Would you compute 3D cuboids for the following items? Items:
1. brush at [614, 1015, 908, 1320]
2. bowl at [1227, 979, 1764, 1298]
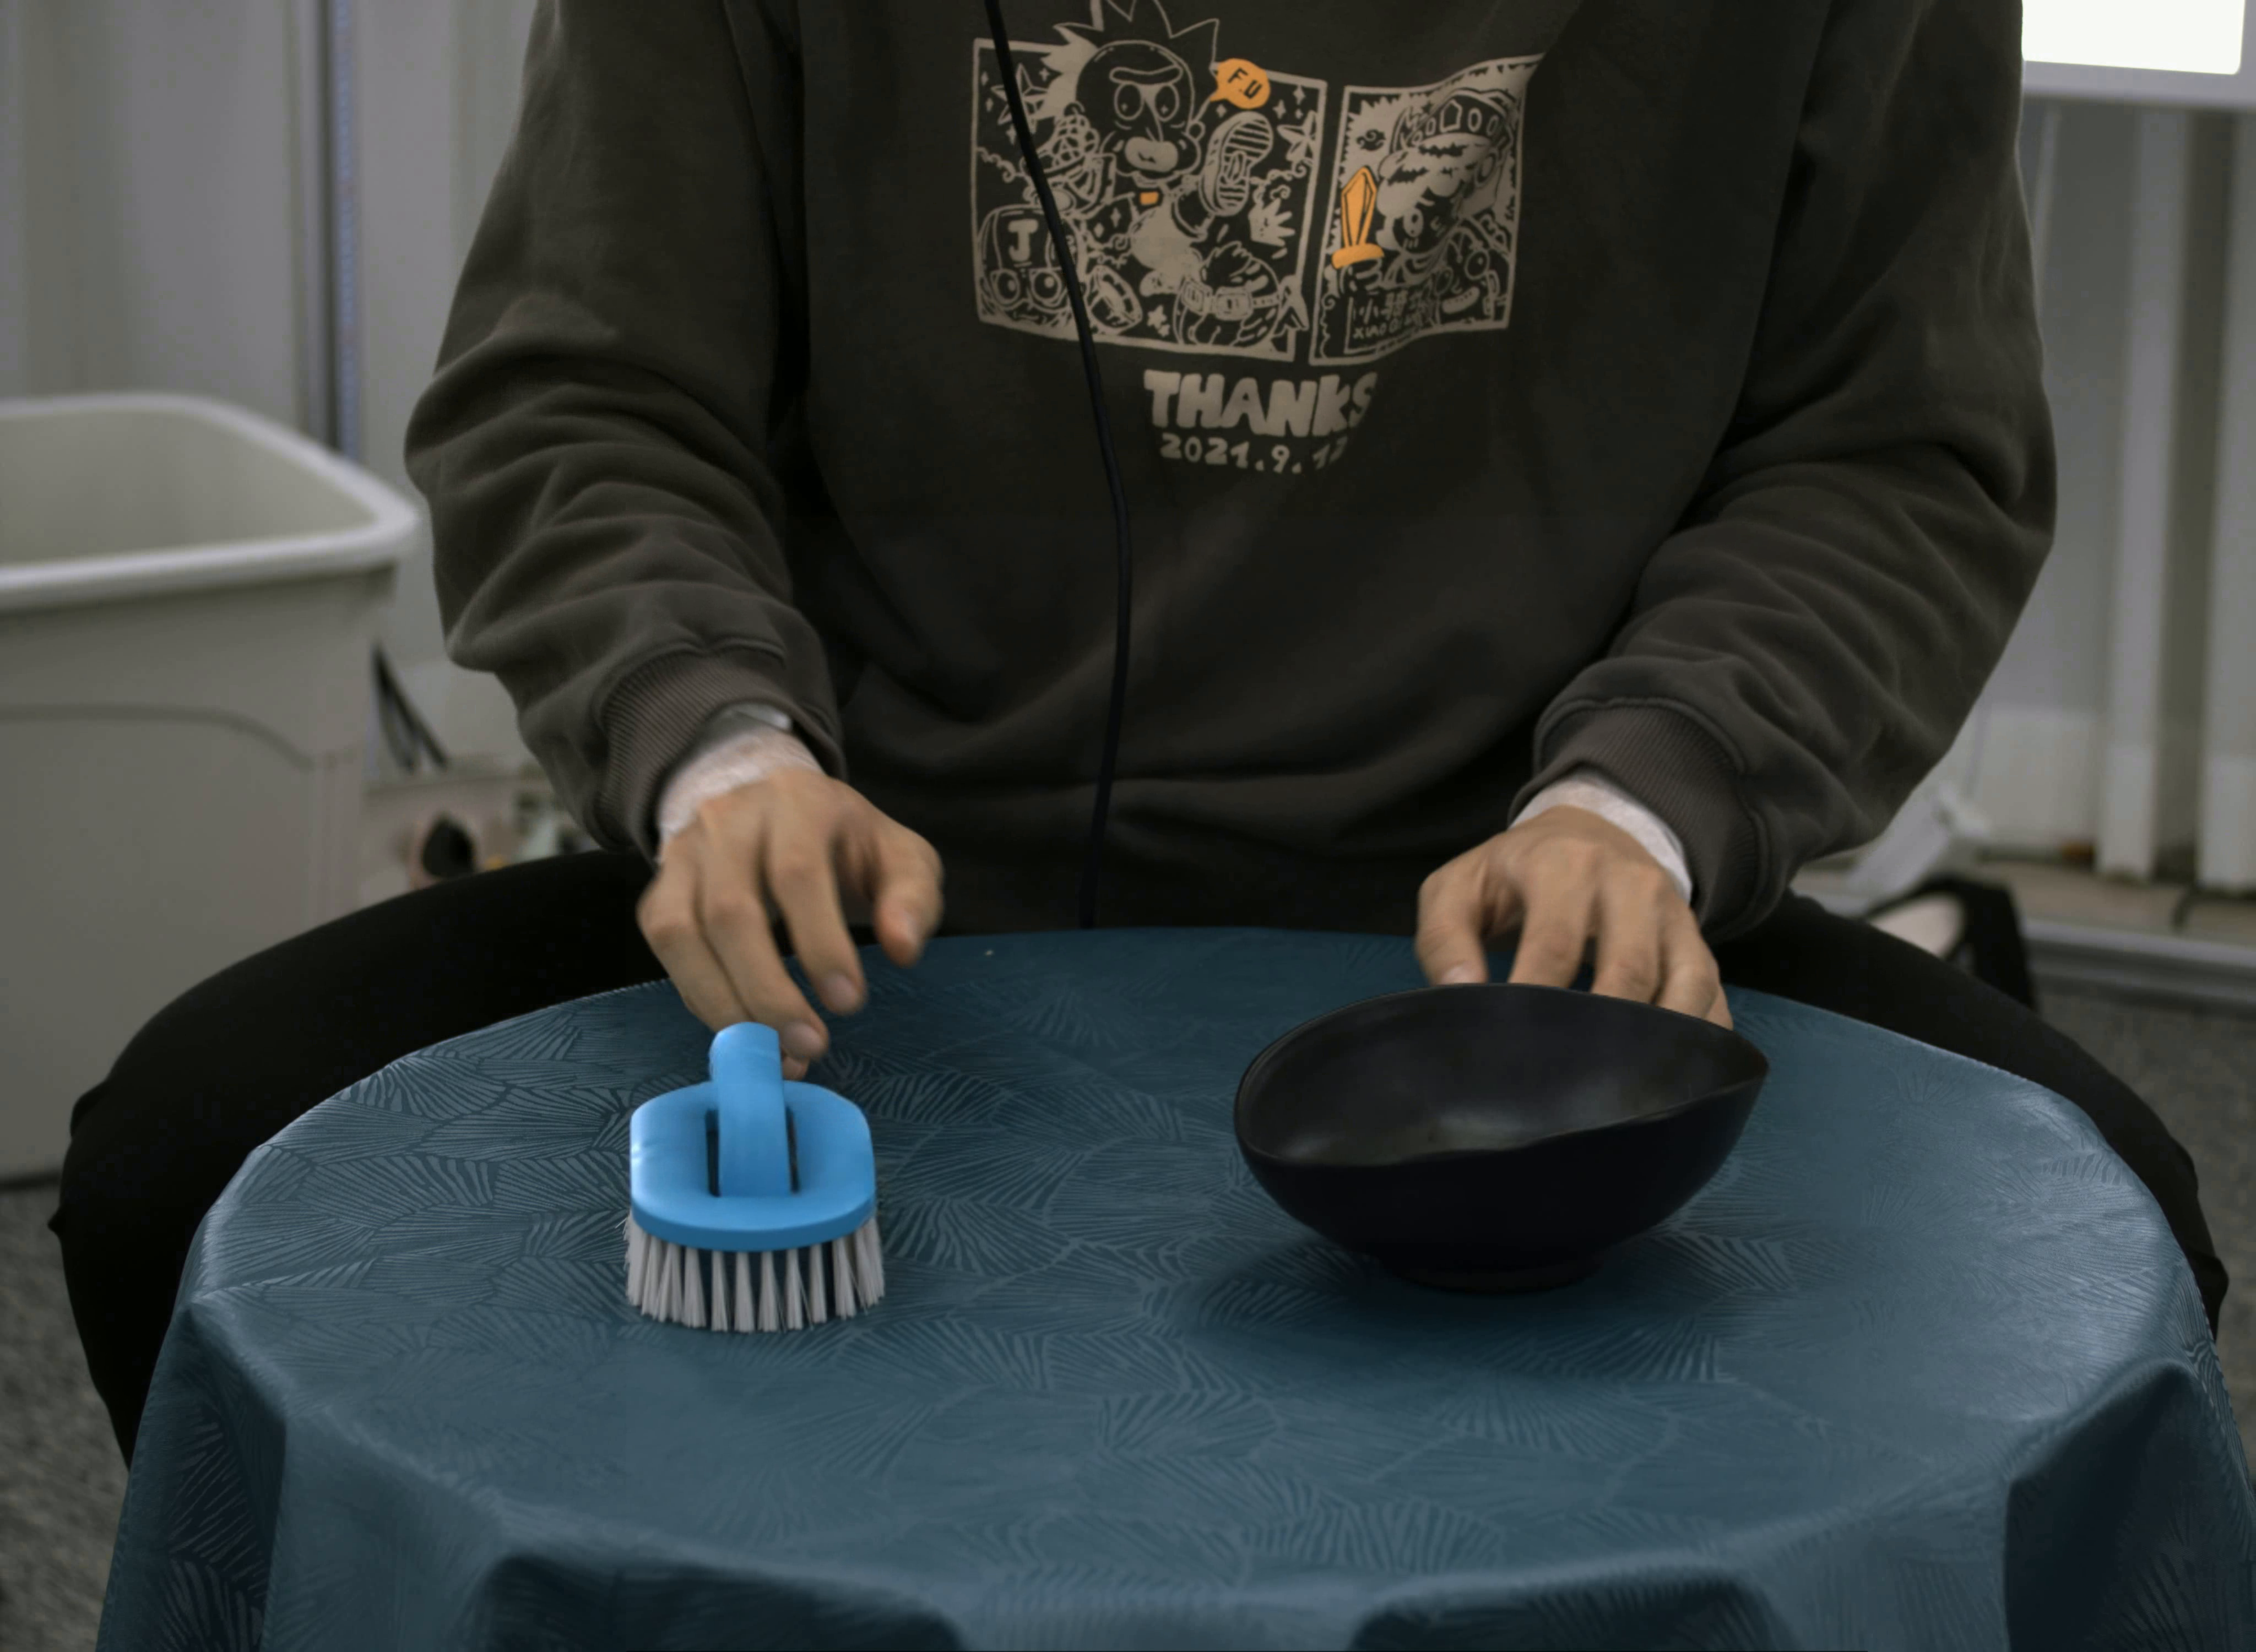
[{"bbox_3d":[-0.110,0.095,1.566,0.084,0.064,0.141,-5,15,-2],"label":"brush"},{"bbox_3d":[0.110,0.099,1.567,0.171,0.067,0.135,-12,19,-34],"label":"bowl"}]
